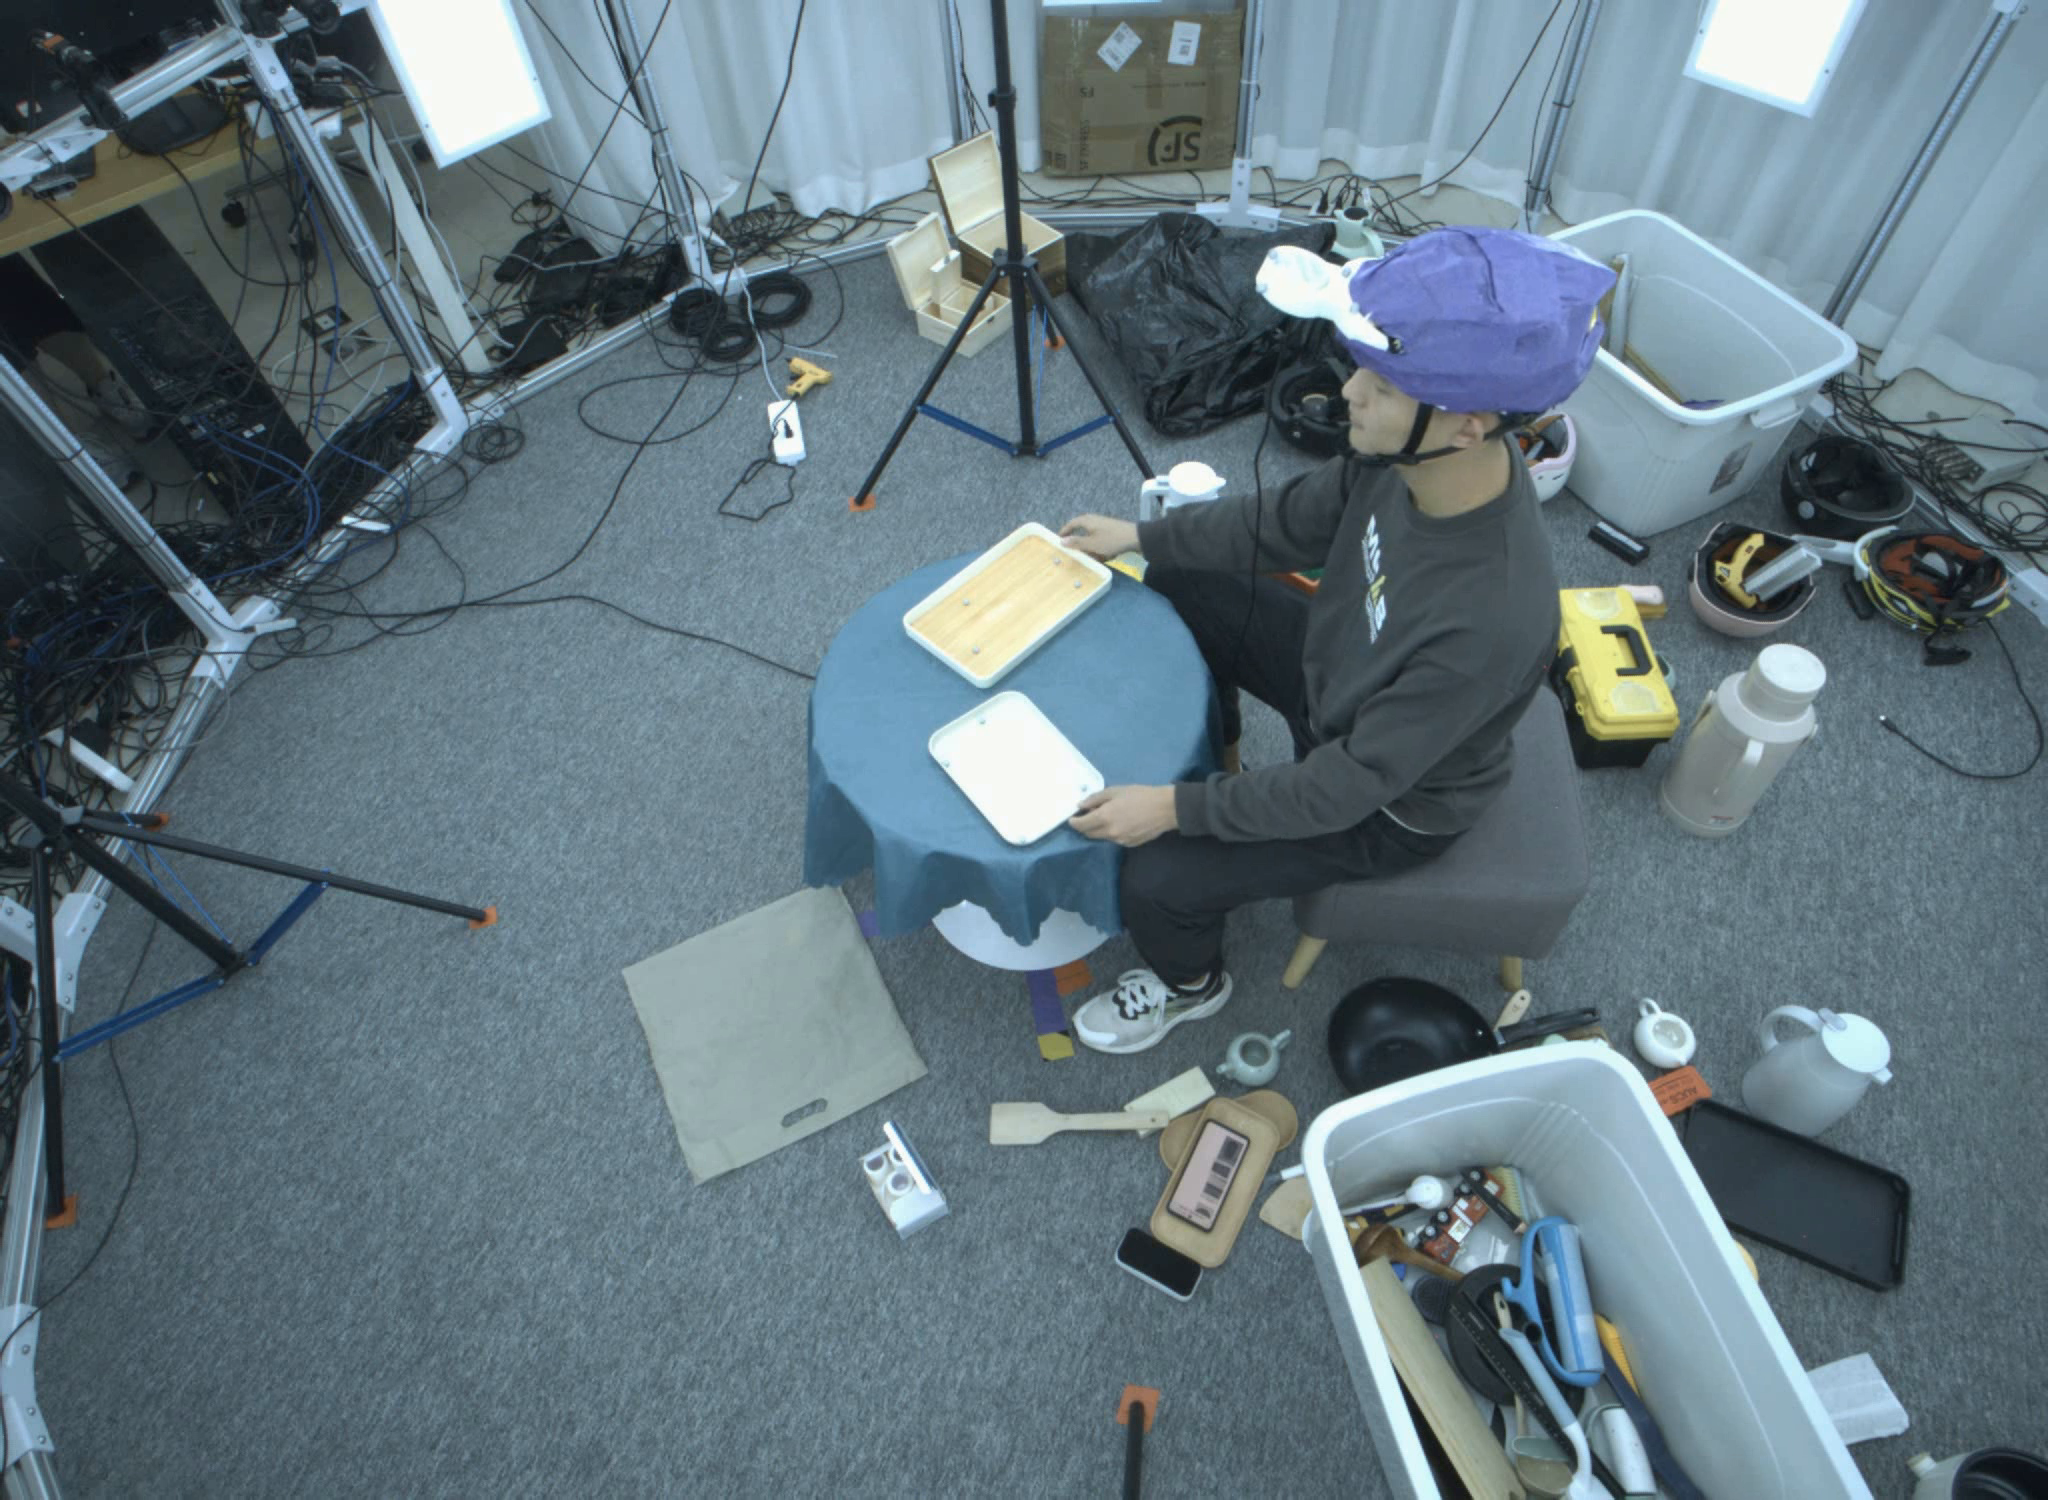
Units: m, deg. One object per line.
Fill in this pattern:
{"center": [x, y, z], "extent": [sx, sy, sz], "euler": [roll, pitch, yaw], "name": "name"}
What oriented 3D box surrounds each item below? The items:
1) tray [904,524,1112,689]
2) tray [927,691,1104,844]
{"center": [-0.023, -0.232, 1.935], "extent": [0.188, 0.028, 0.302], "euler": [37, 64, 24], "name": "tray"}
{"center": [-0.013, 0.023, 1.759], "extent": [0.173, 0.017, 0.235], "euler": [-32, 60, -20], "name": "tray"}
